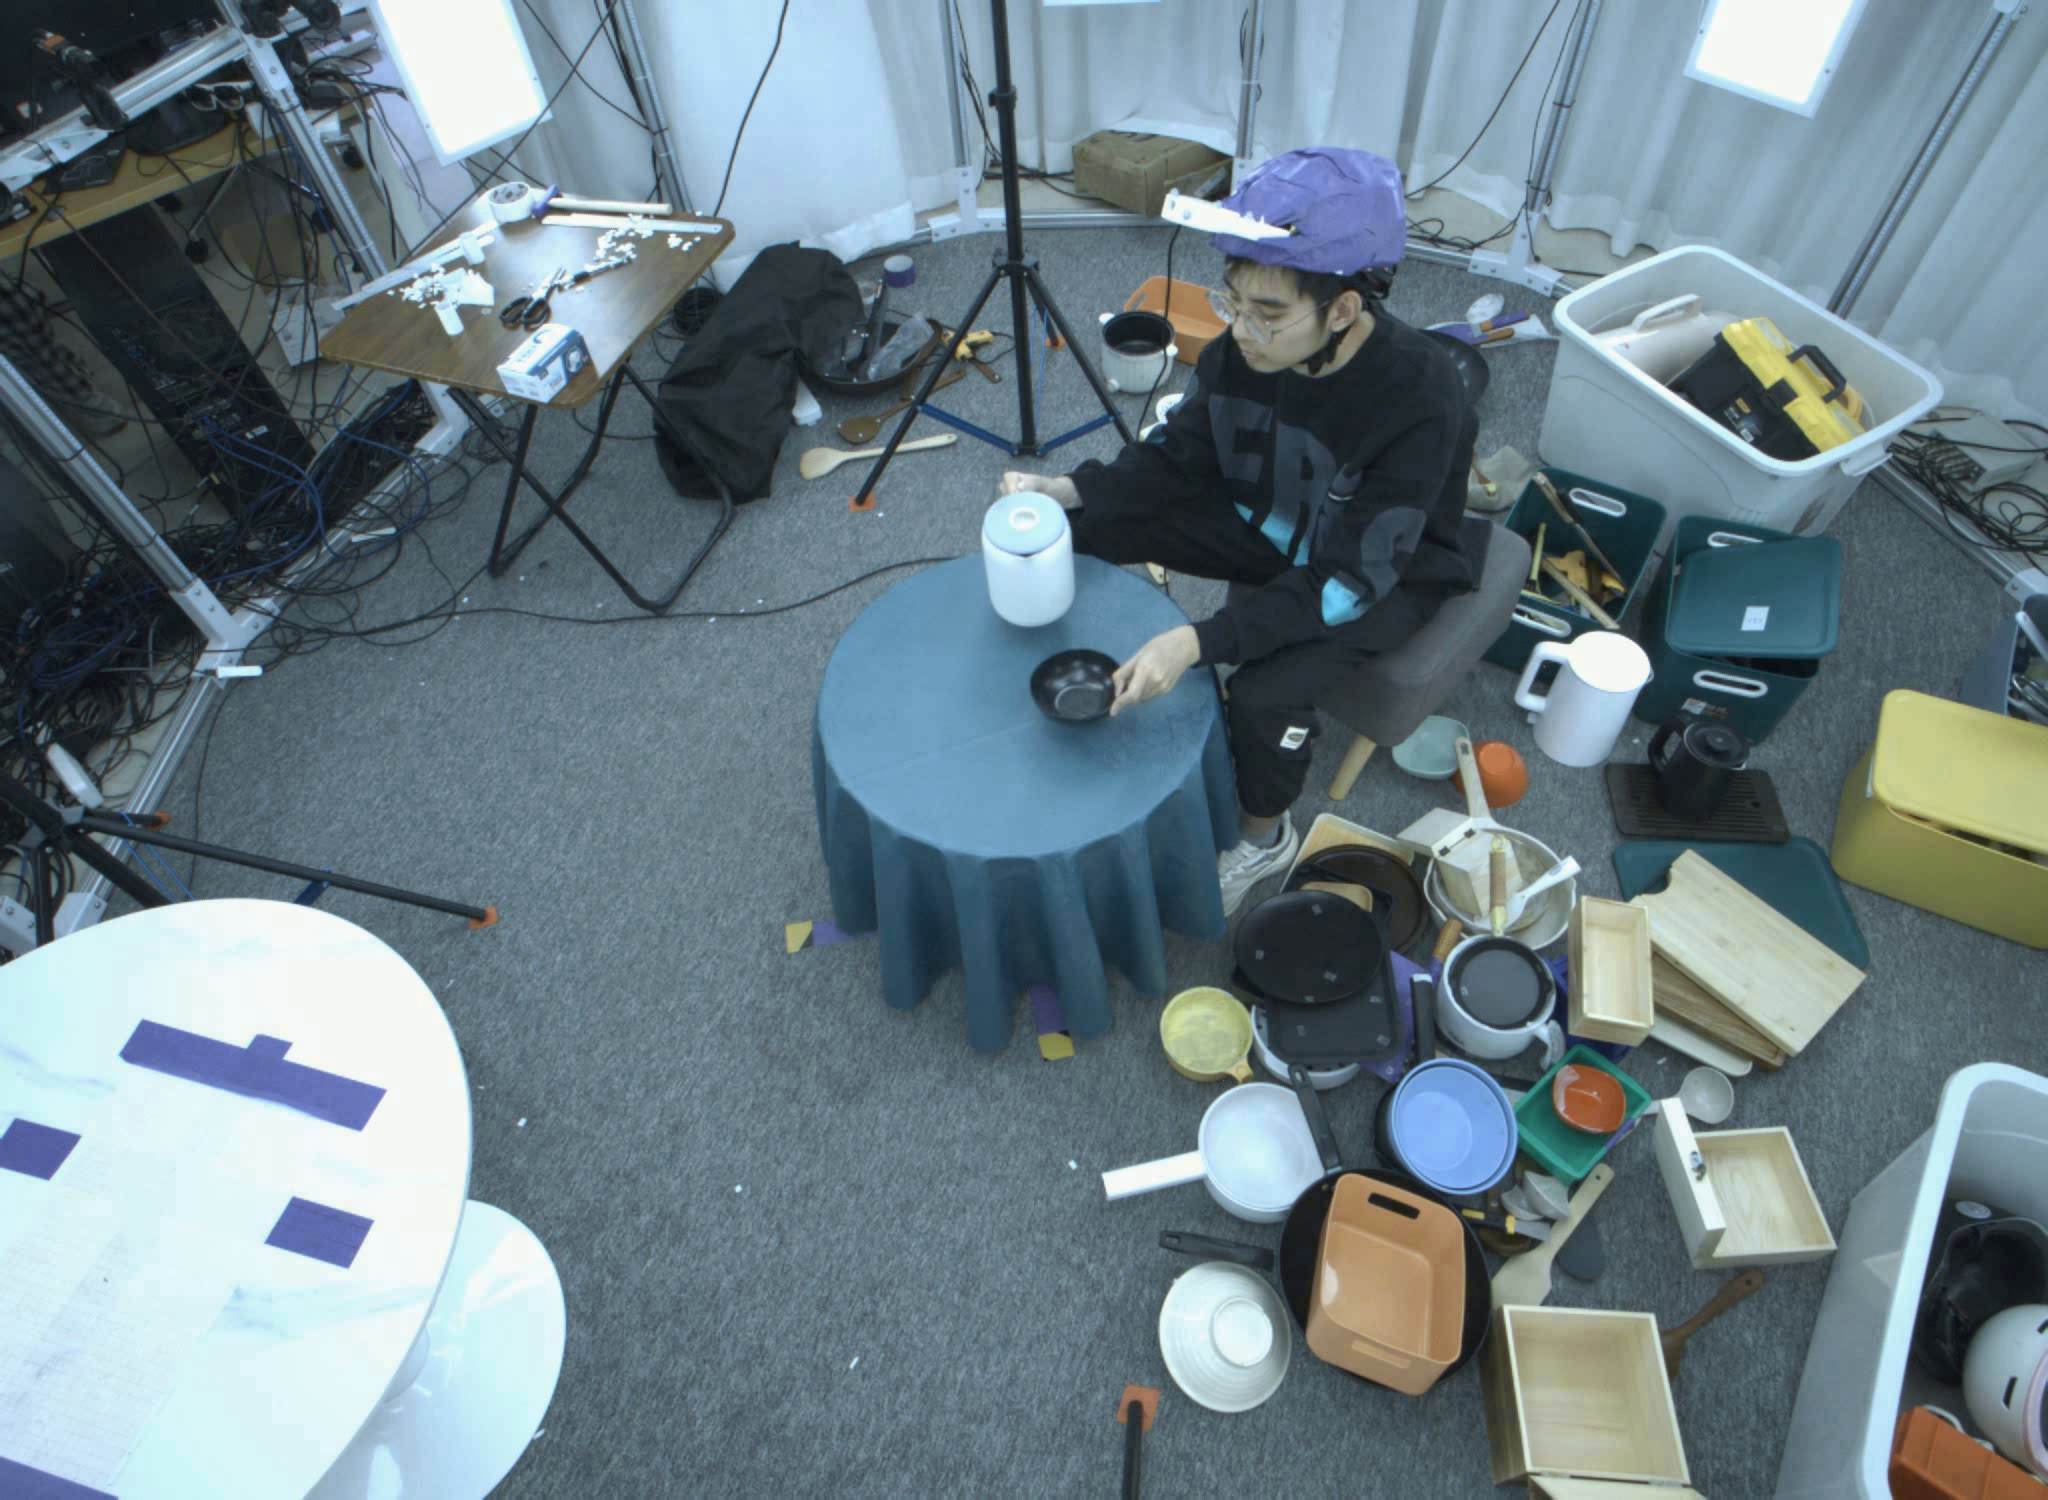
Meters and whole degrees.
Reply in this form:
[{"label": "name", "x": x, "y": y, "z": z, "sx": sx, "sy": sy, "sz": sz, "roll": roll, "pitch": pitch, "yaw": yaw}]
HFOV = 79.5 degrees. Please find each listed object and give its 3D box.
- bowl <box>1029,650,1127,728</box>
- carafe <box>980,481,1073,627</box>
[{"label": "bowl", "x": 0.078, "y": -0.079, "z": 1.768, "sx": 0.140, "sy": 0.050, "sz": 0.138, "roll": -1, "pitch": 49, "yaw": 3}, {"label": "carafe", "x": 0.003, "y": -0.303, "z": 1.828, "sx": 0.132, "sy": 0.184, "sz": 0.189, "roll": -5, "pitch": 56, "yaw": 0}]
